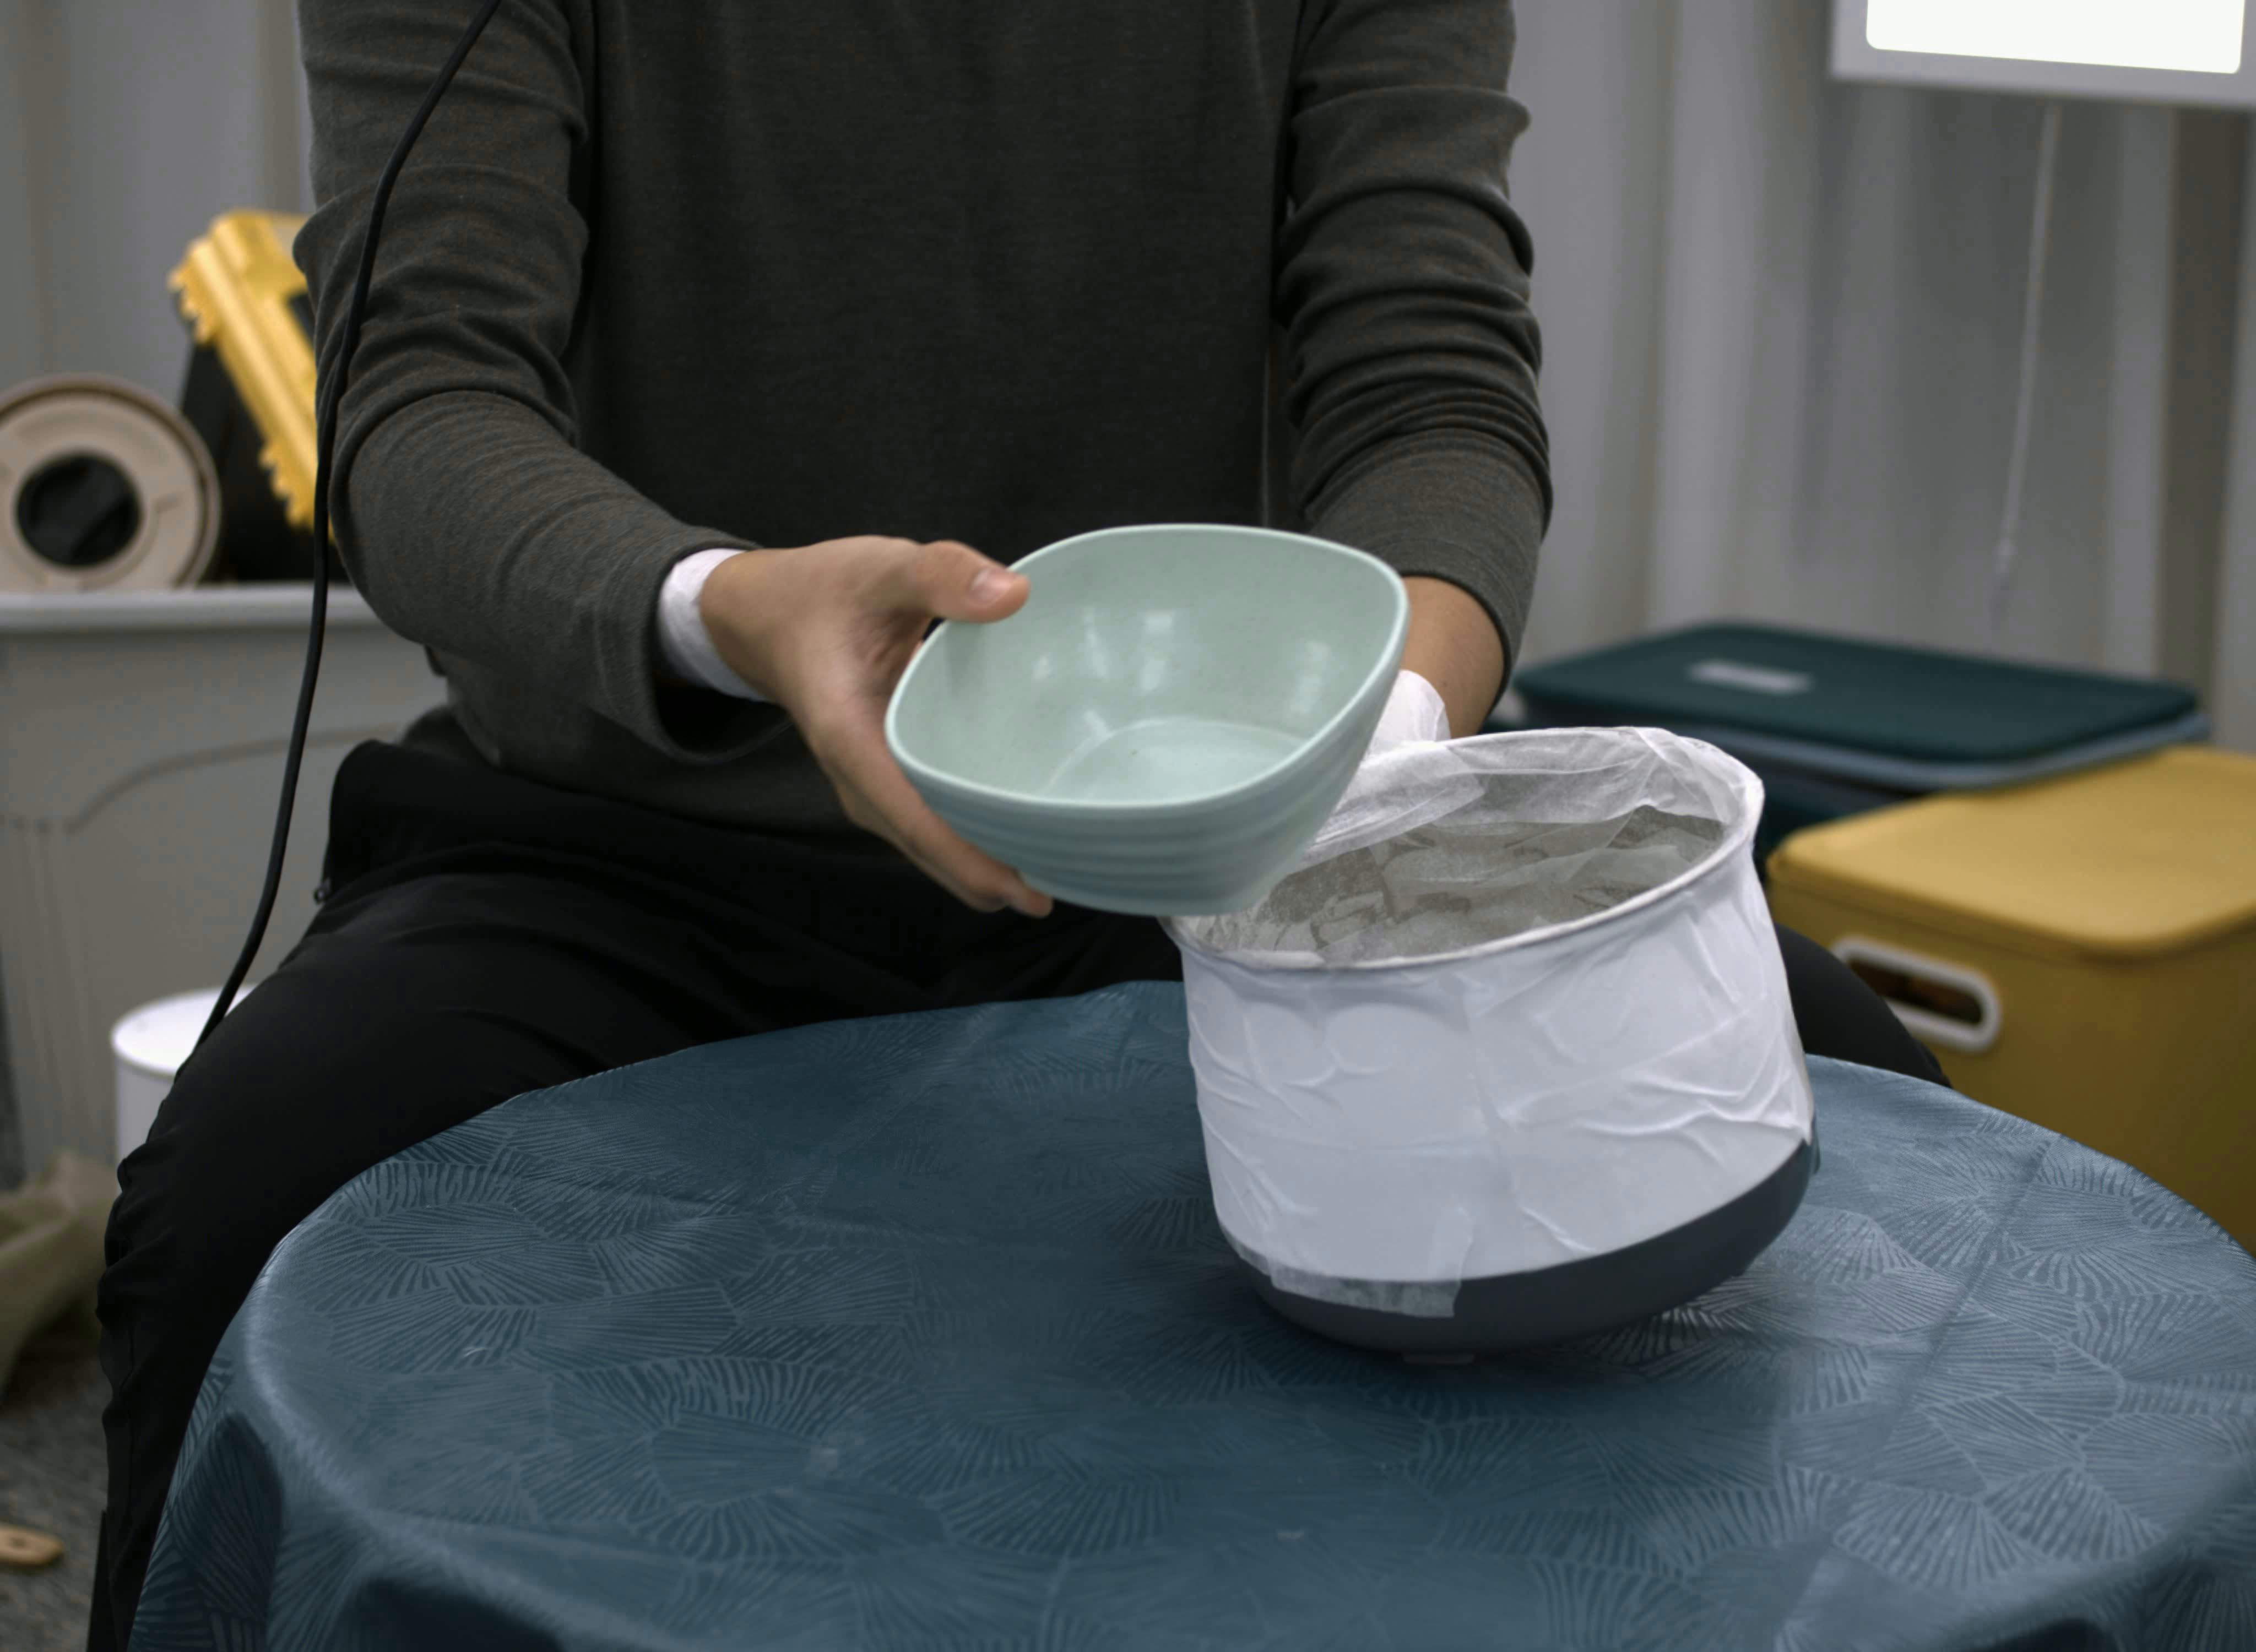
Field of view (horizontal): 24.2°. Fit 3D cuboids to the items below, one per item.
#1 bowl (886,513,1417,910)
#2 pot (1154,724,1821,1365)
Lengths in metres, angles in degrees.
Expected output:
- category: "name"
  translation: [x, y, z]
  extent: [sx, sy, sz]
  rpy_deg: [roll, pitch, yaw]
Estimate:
- category: "bowl"
  translation: [0.011, -0.025, 1.464]
  extent: [0.151, 0.059, 0.150]
  rpy_deg: [-7, 34, 5]
- category: "pot"
  translation: [0.096, 0.055, 1.539]
  extent: [0.179, 0.138, 0.231]
  rpy_deg: [-17, 20, -15]
